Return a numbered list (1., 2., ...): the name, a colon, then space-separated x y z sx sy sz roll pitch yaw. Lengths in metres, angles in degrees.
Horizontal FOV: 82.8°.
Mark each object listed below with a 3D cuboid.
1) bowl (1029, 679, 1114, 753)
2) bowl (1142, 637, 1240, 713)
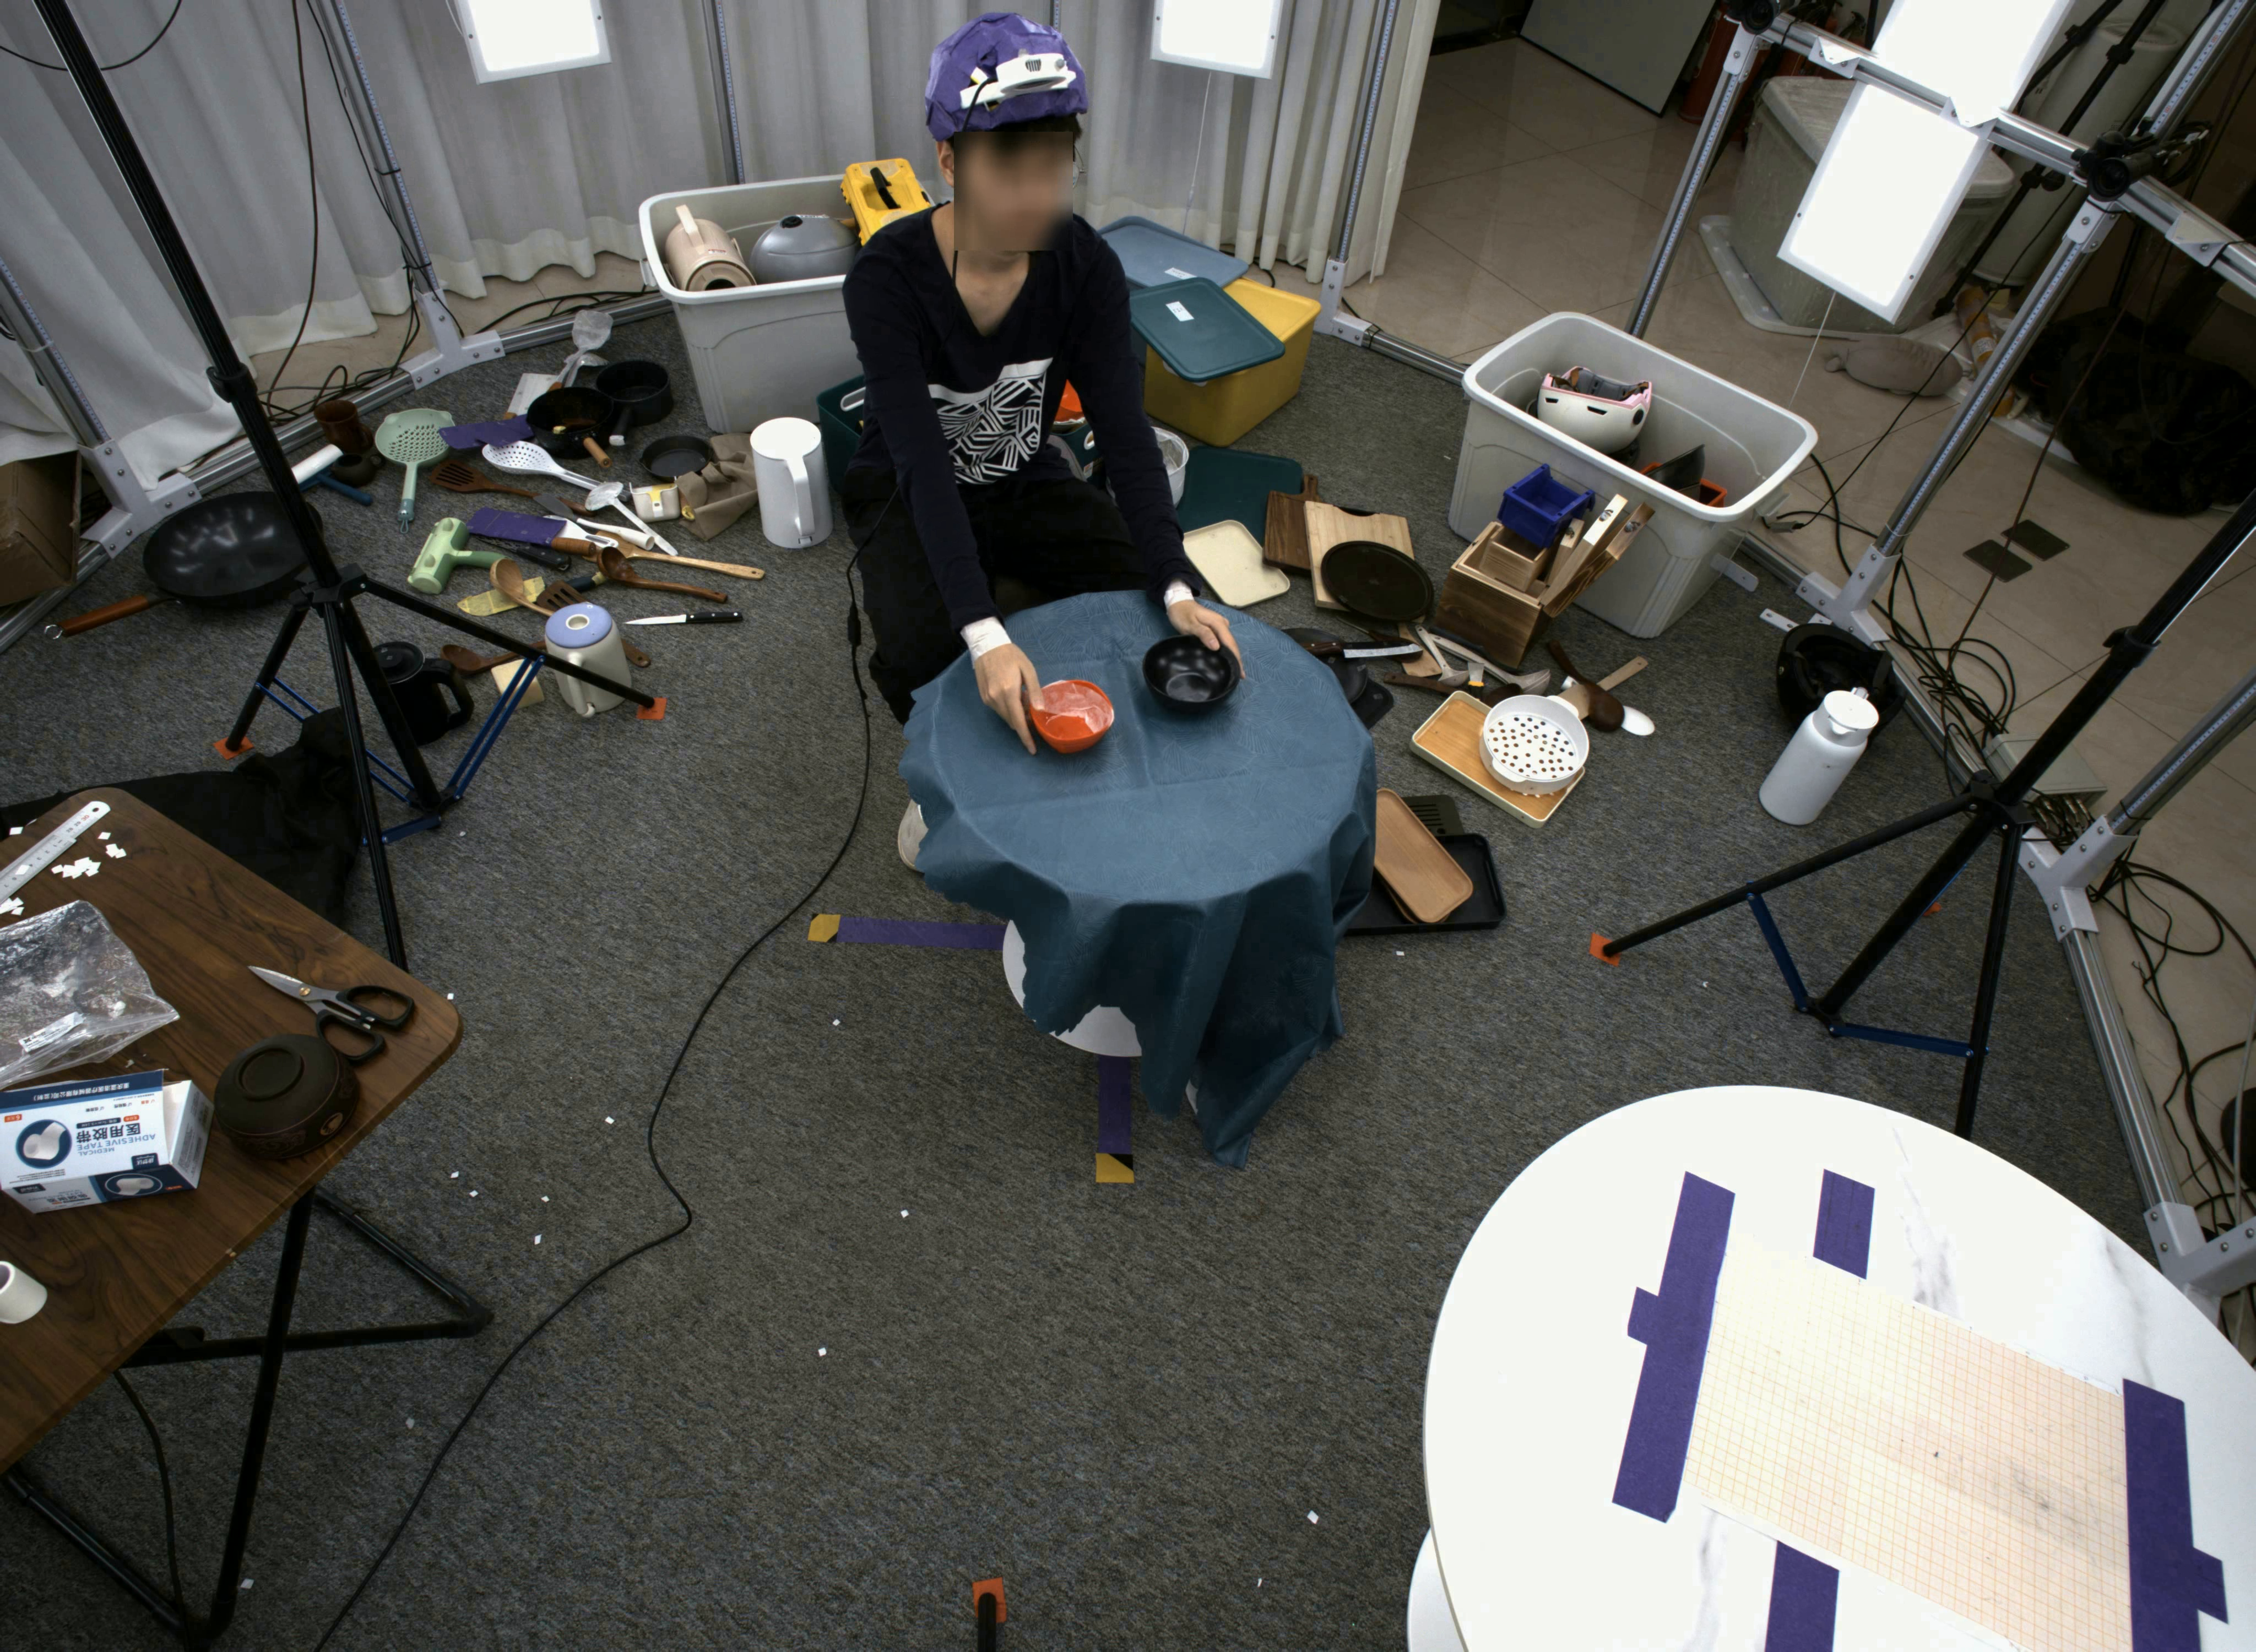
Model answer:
1. bowl: -0.077 -0.144 1.753 0.119 0.050 0.122 2 51 -2
2. bowl: 0.088 -0.206 1.824 0.140 0.048 0.143 1 46 -1
